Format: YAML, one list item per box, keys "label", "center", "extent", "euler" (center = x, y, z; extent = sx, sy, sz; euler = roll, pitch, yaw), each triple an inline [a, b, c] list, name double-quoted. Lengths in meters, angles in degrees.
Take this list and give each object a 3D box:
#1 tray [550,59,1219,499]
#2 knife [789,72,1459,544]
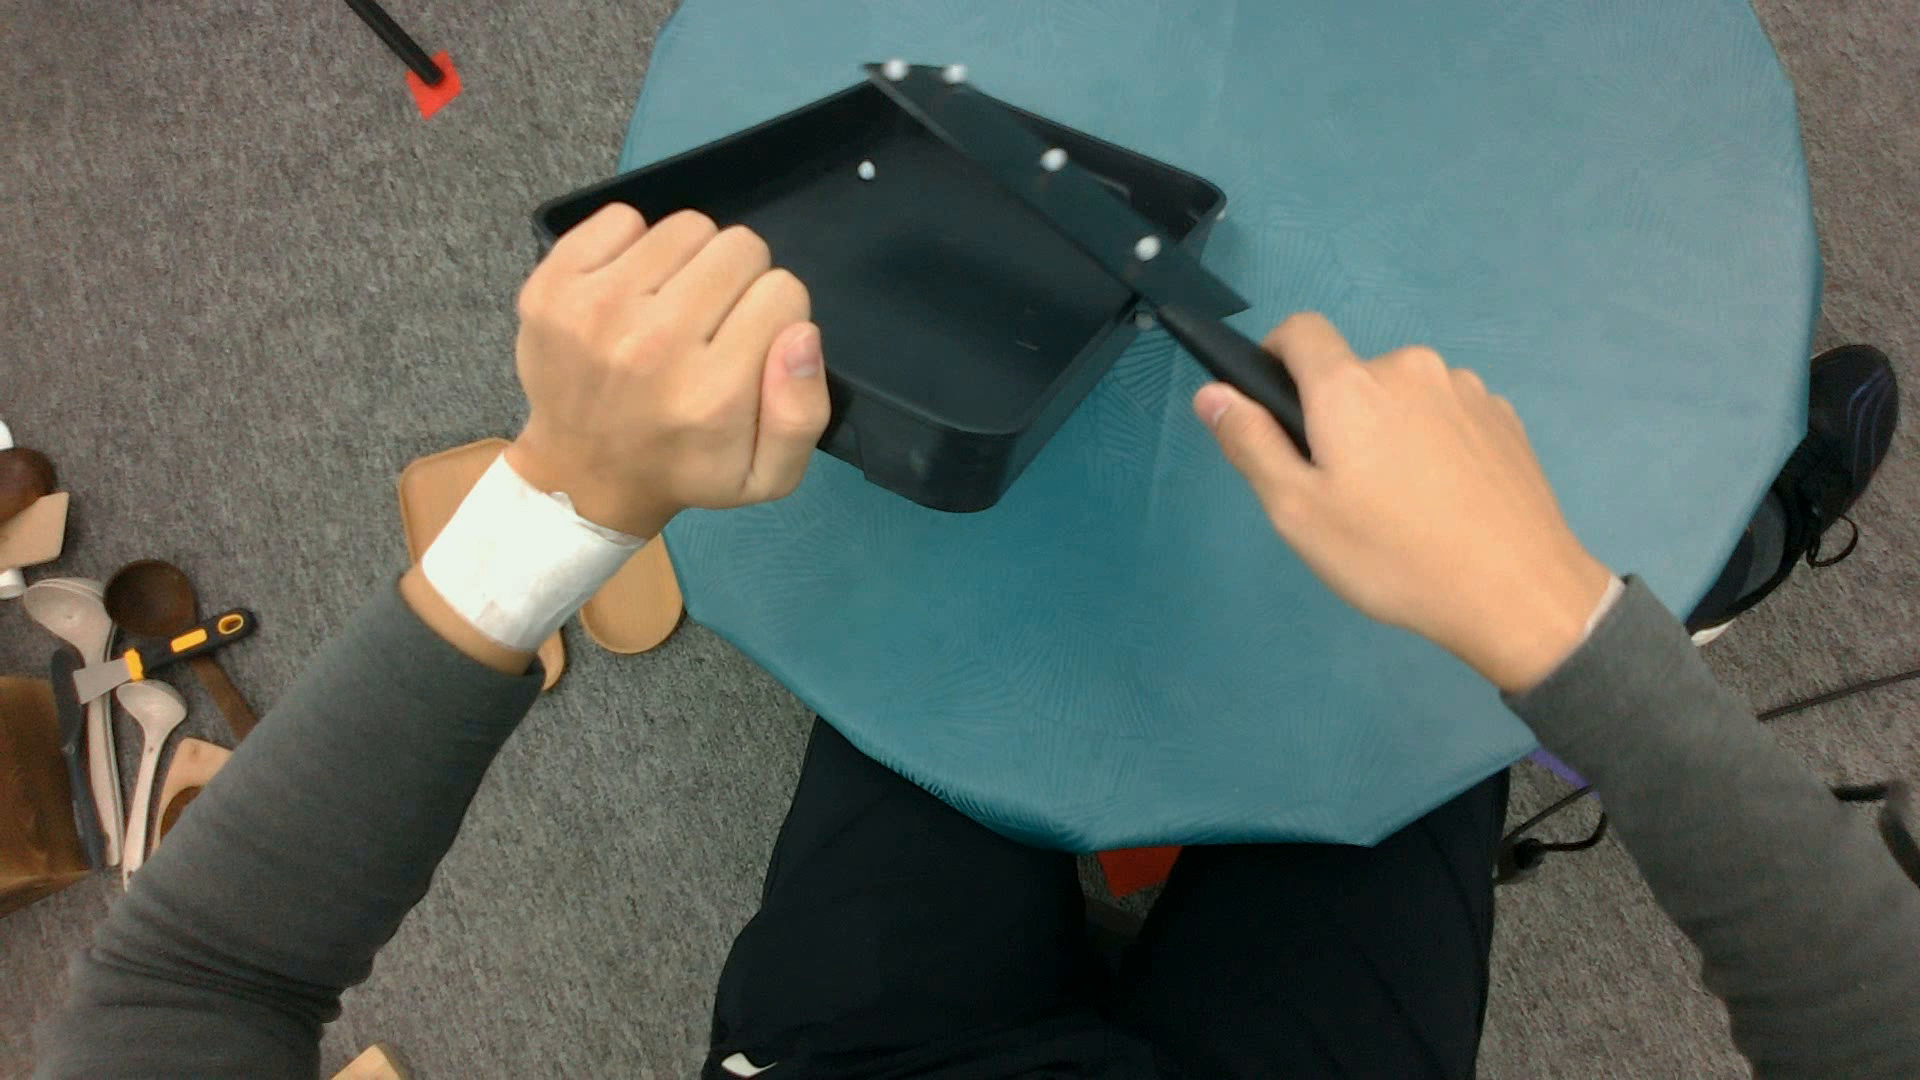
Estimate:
- label: "tray"
  center: [-0.009, -0.129, 0.574]
  extent: [0.184, 0.319, 0.037]
  euler: [23, 124, 9]
- label: "knife"
  center: [0.057, -0.098, 0.517]
  extent: [0.302, 0.081, 0.021]
  euler: [42, 123, 19]
